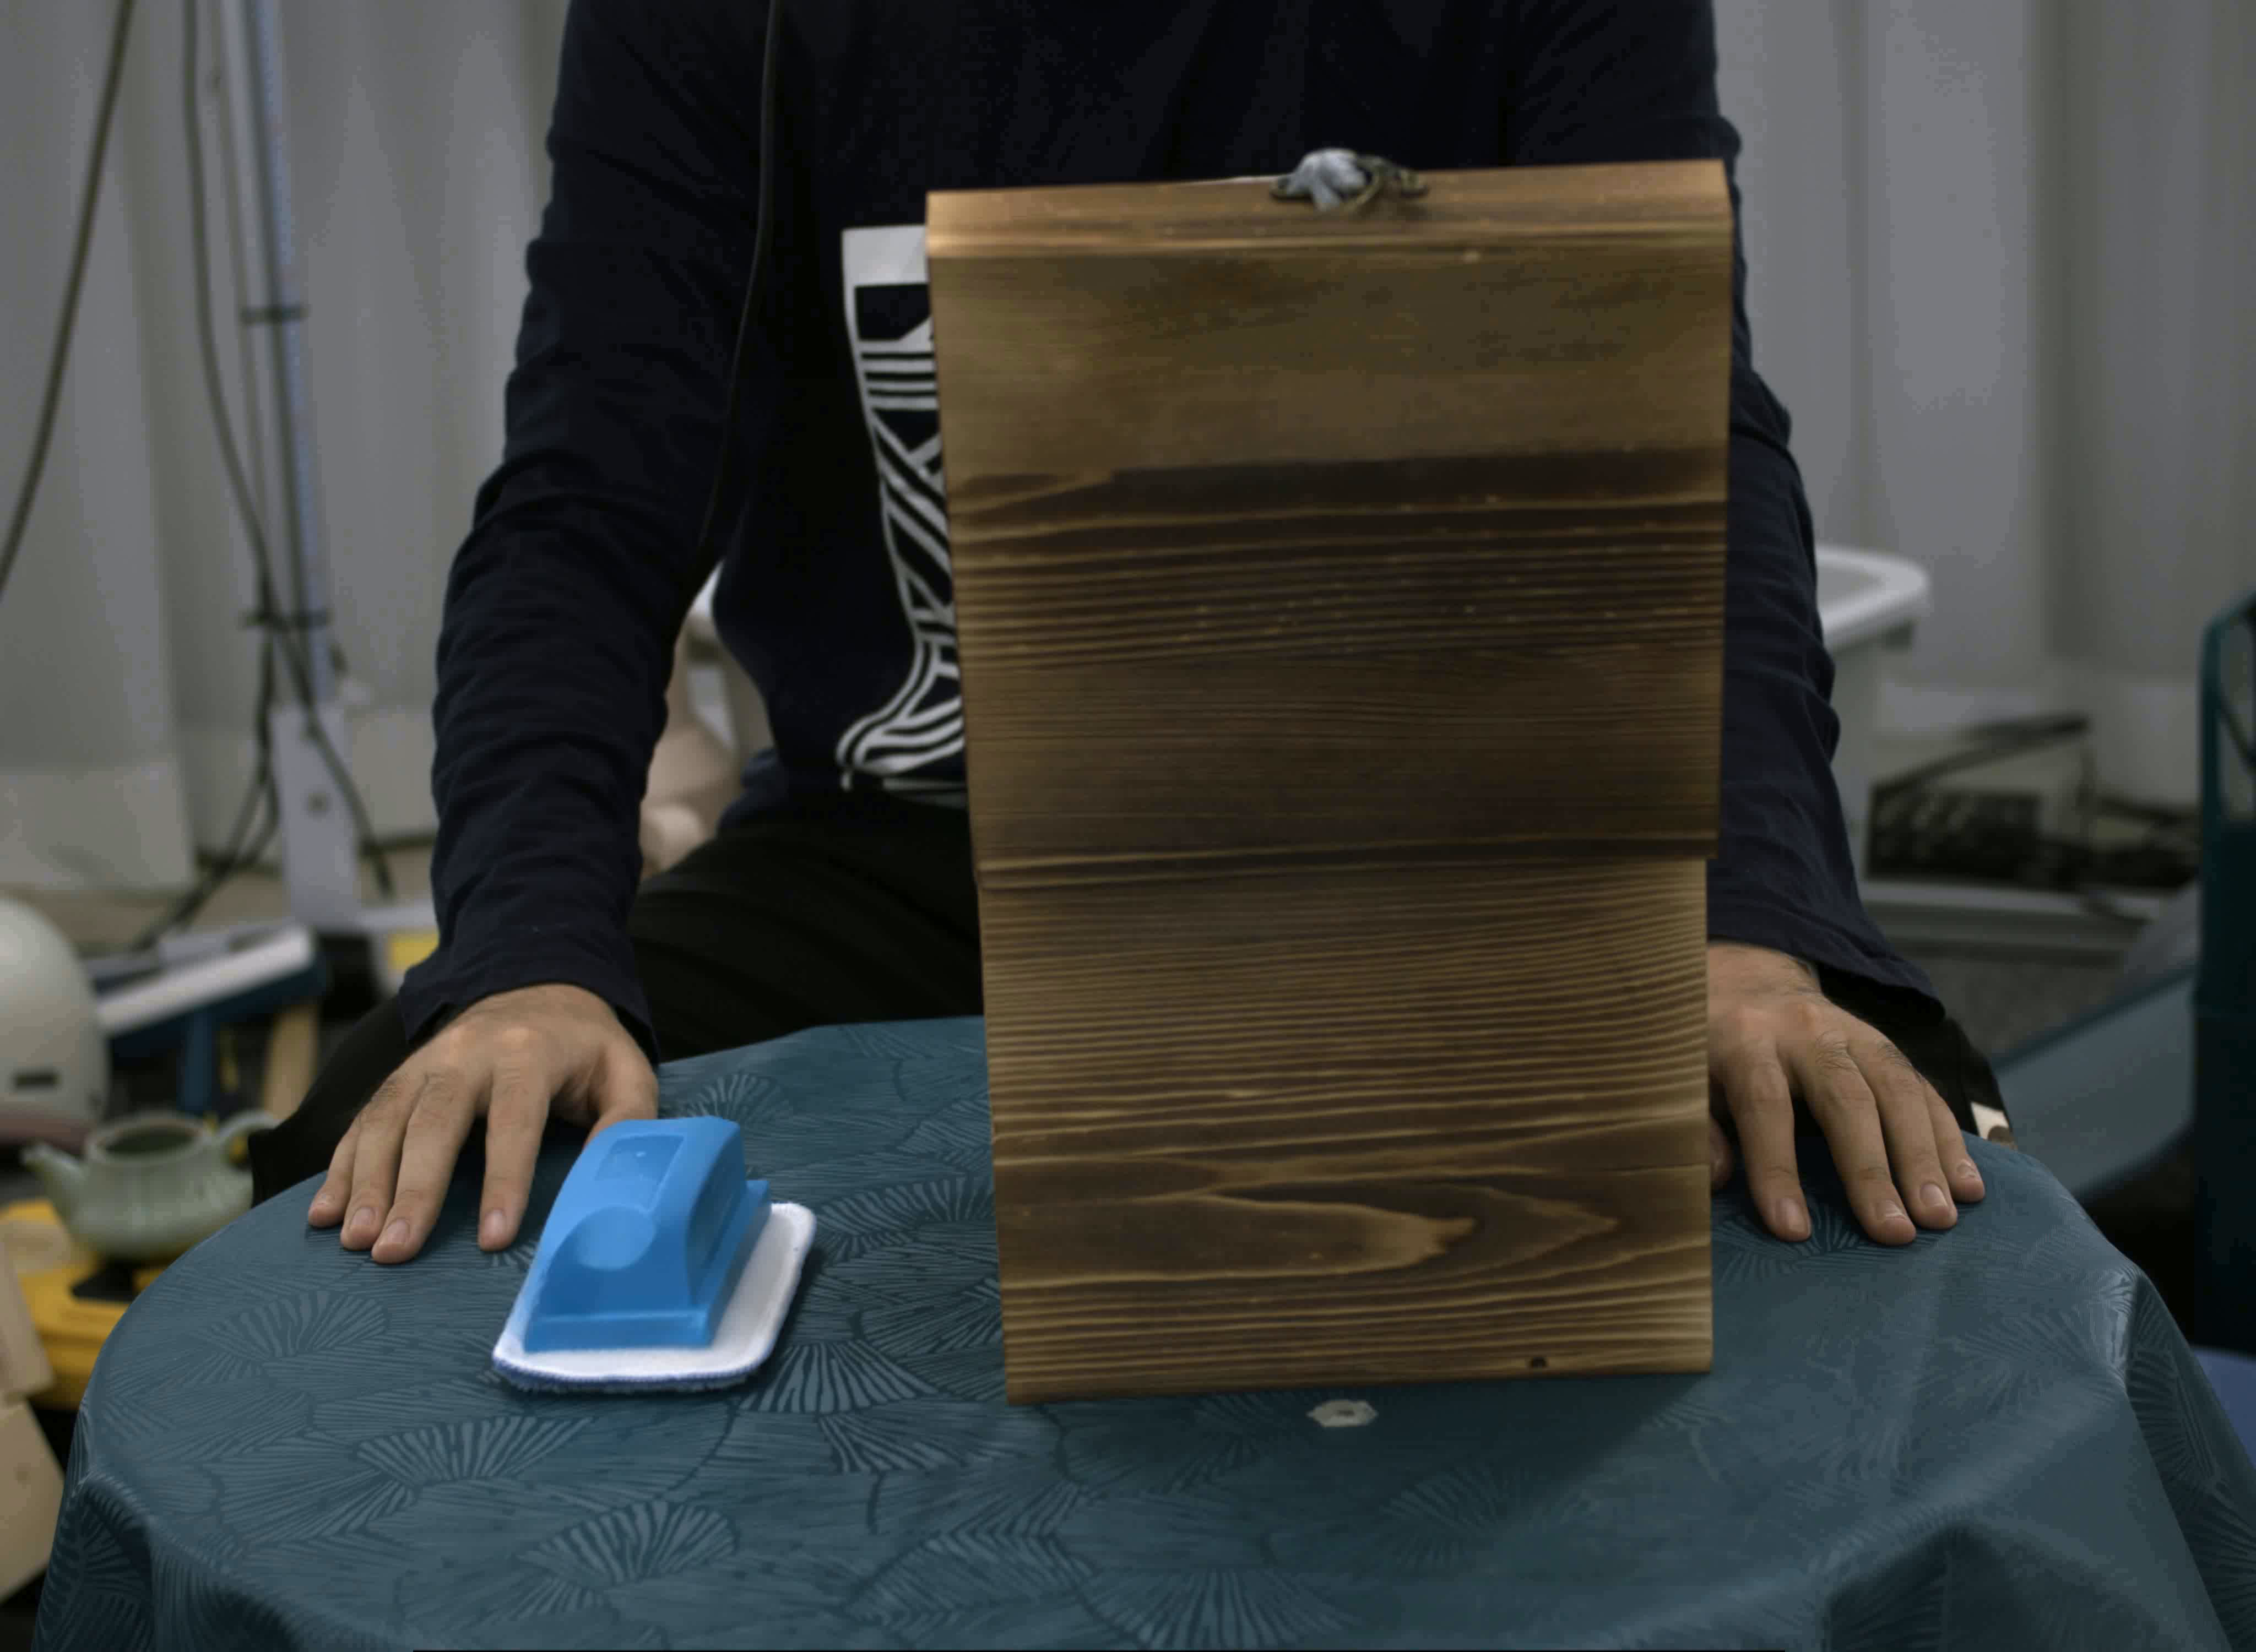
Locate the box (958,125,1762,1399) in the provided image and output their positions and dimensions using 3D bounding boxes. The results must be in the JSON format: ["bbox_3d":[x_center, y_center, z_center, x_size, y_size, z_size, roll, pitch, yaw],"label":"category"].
[{"bbox_3d":[0.059,-0.028,1.543,0.208,0.374,0.324,-2,14,0],"label":"box"}]

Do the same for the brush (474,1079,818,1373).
[{"bbox_3d":[-0.142,0.115,1.623,0.083,0.055,0.145,2,17,7],"label":"brush"}]
